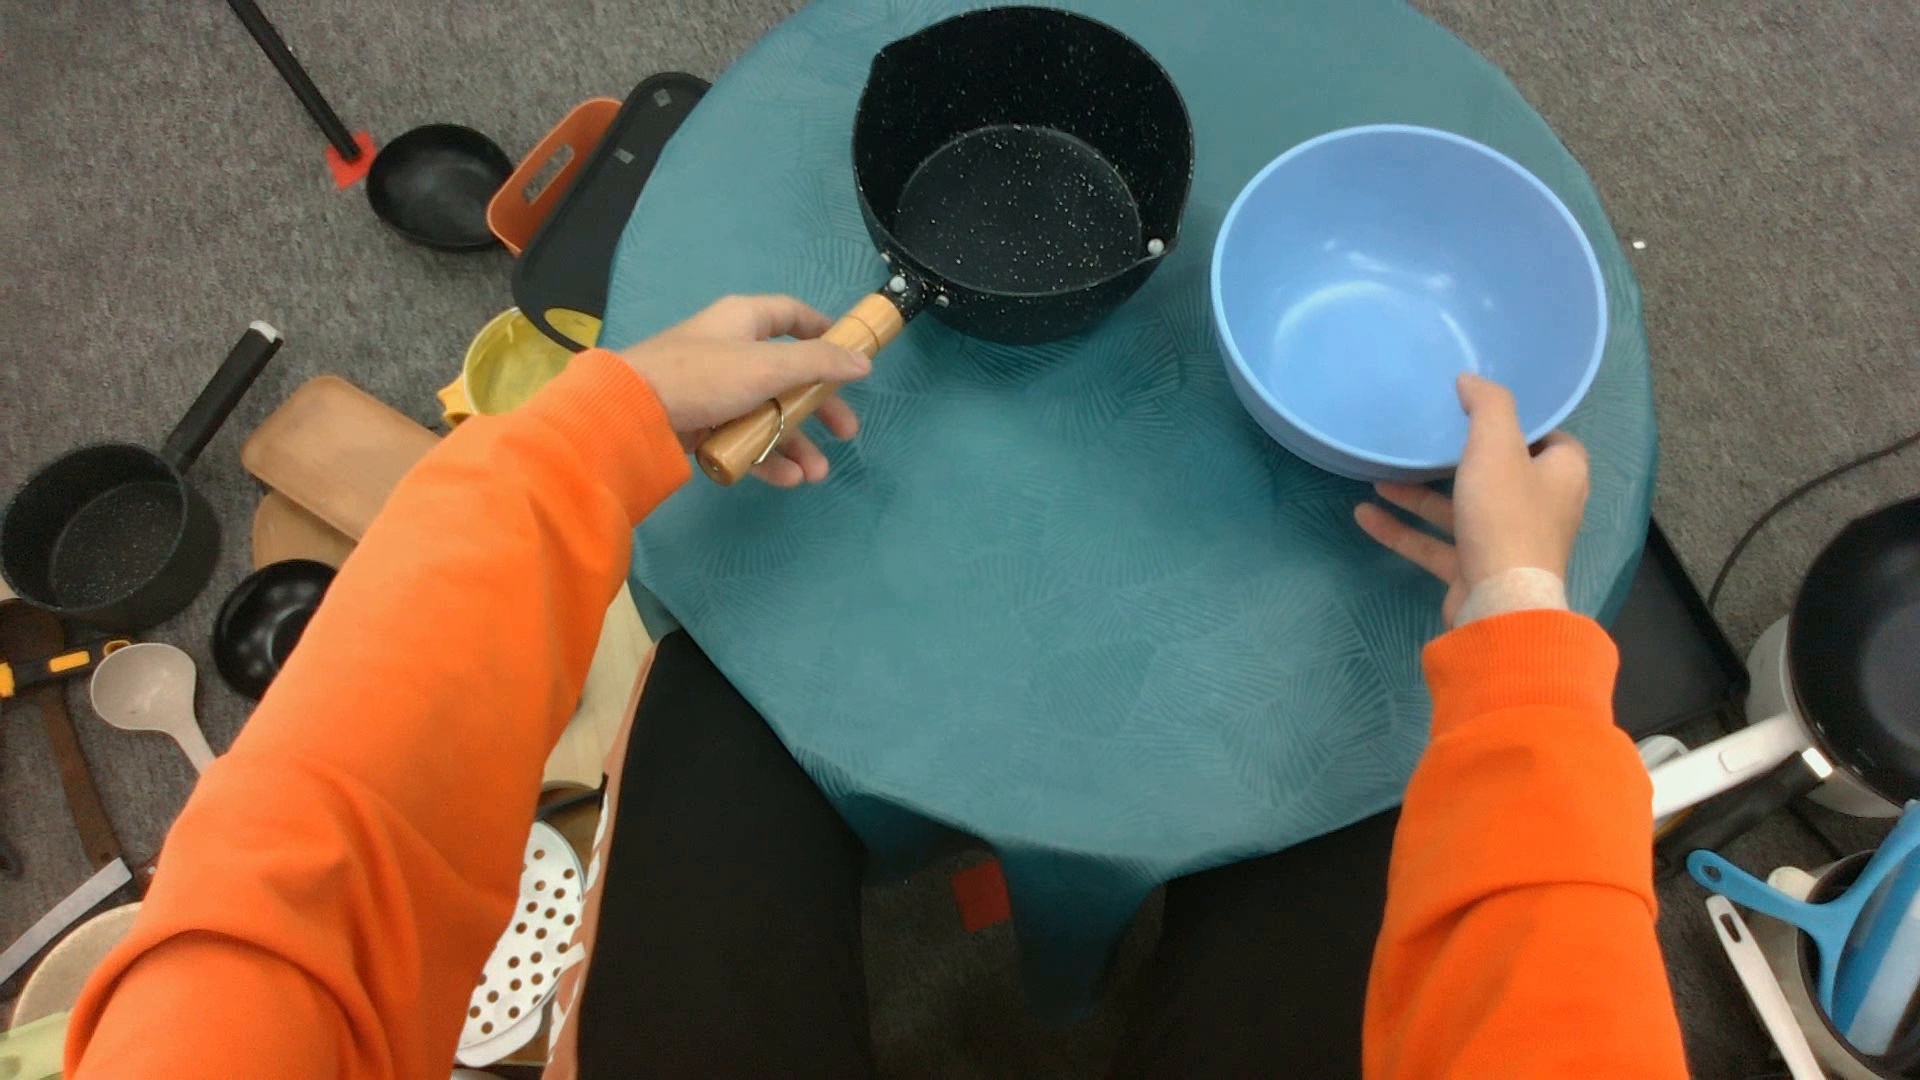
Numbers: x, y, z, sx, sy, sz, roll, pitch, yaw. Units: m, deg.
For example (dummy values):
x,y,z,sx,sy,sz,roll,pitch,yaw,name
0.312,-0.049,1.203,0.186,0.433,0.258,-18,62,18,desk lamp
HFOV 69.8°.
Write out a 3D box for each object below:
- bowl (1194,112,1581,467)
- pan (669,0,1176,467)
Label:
x,y,z,sx,sy,sz,roll,pitch,yaw,name
0.215,-0.119,0.739,0.196,0.095,0.197,1,69,-1,bowl
-0.025,-0.148,0.740,0.207,0.108,0.344,36,72,10,pan
